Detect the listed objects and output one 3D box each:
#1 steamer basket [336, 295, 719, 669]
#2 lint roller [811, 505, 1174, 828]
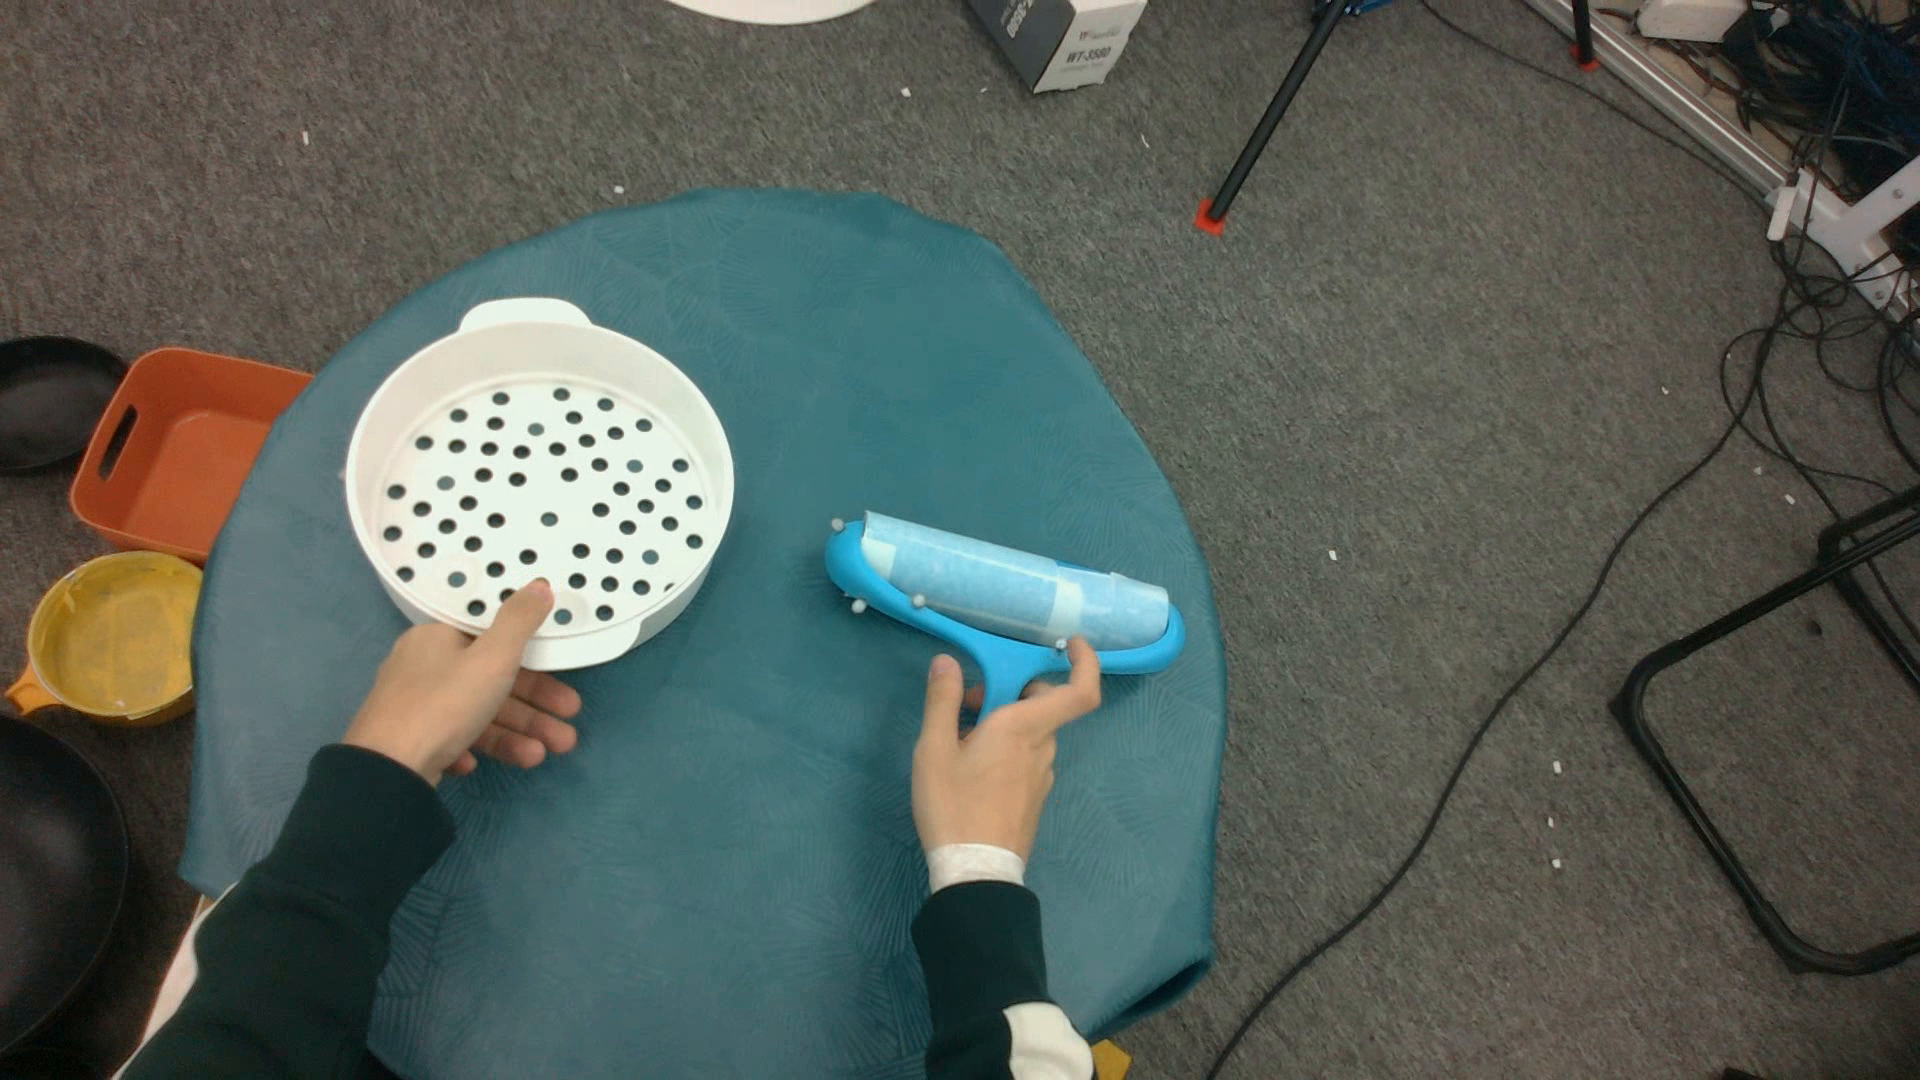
[{"bbox_3d":[-0.241,-0.027,0.783,0.202,0.069,0.231,-9,68,-19],"label":"steamer basket"},{"bbox_3d":[0.020,0.075,0.815,0.229,0.067,0.181,10,60,-14],"label":"lint roller"}]
